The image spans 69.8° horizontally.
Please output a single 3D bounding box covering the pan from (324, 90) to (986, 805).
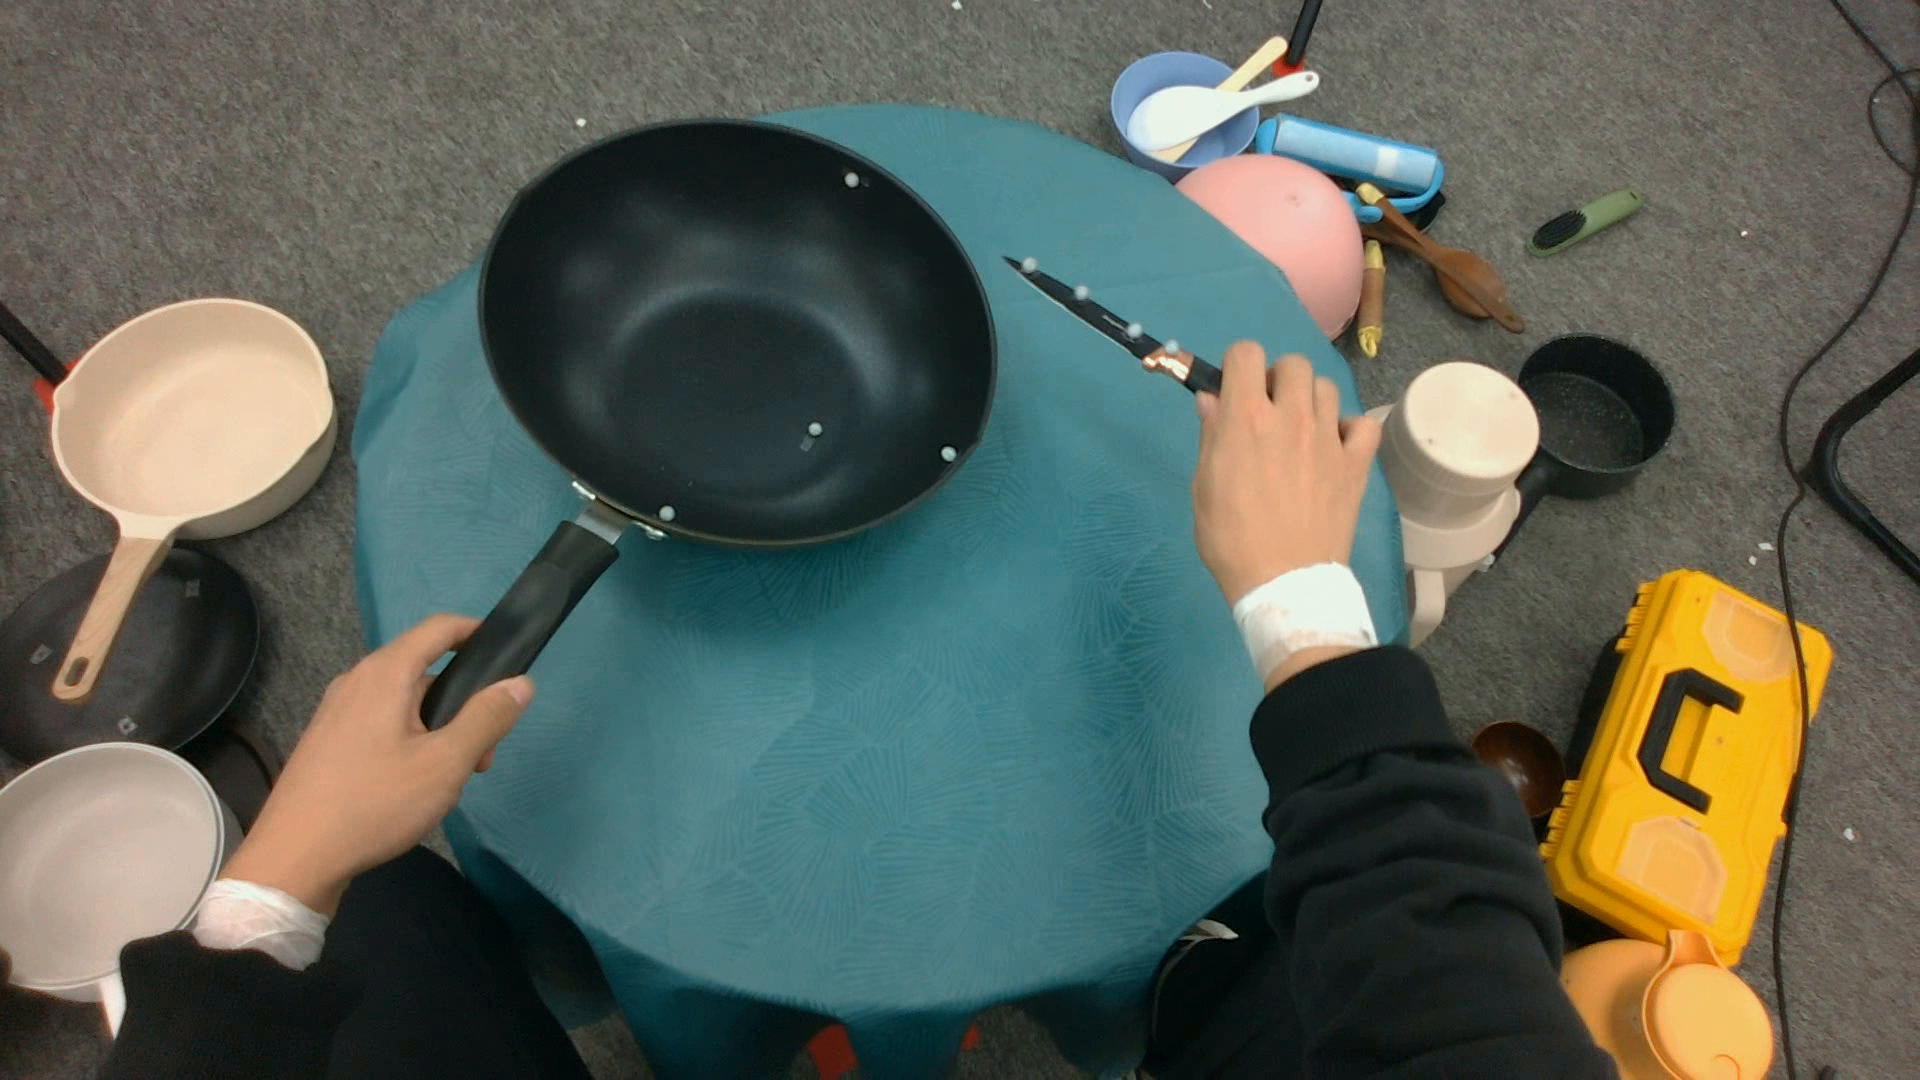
[{"bbox_3d":[-0.170,-0.049,0.742,0.288,0.086,0.465,30,61,-2],"label":"pan"}]

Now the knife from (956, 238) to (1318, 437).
[{"bbox_3d":[0.090,-0.114,0.736,0.225,0.017,0.026,34,59,21],"label":"knife"}]
